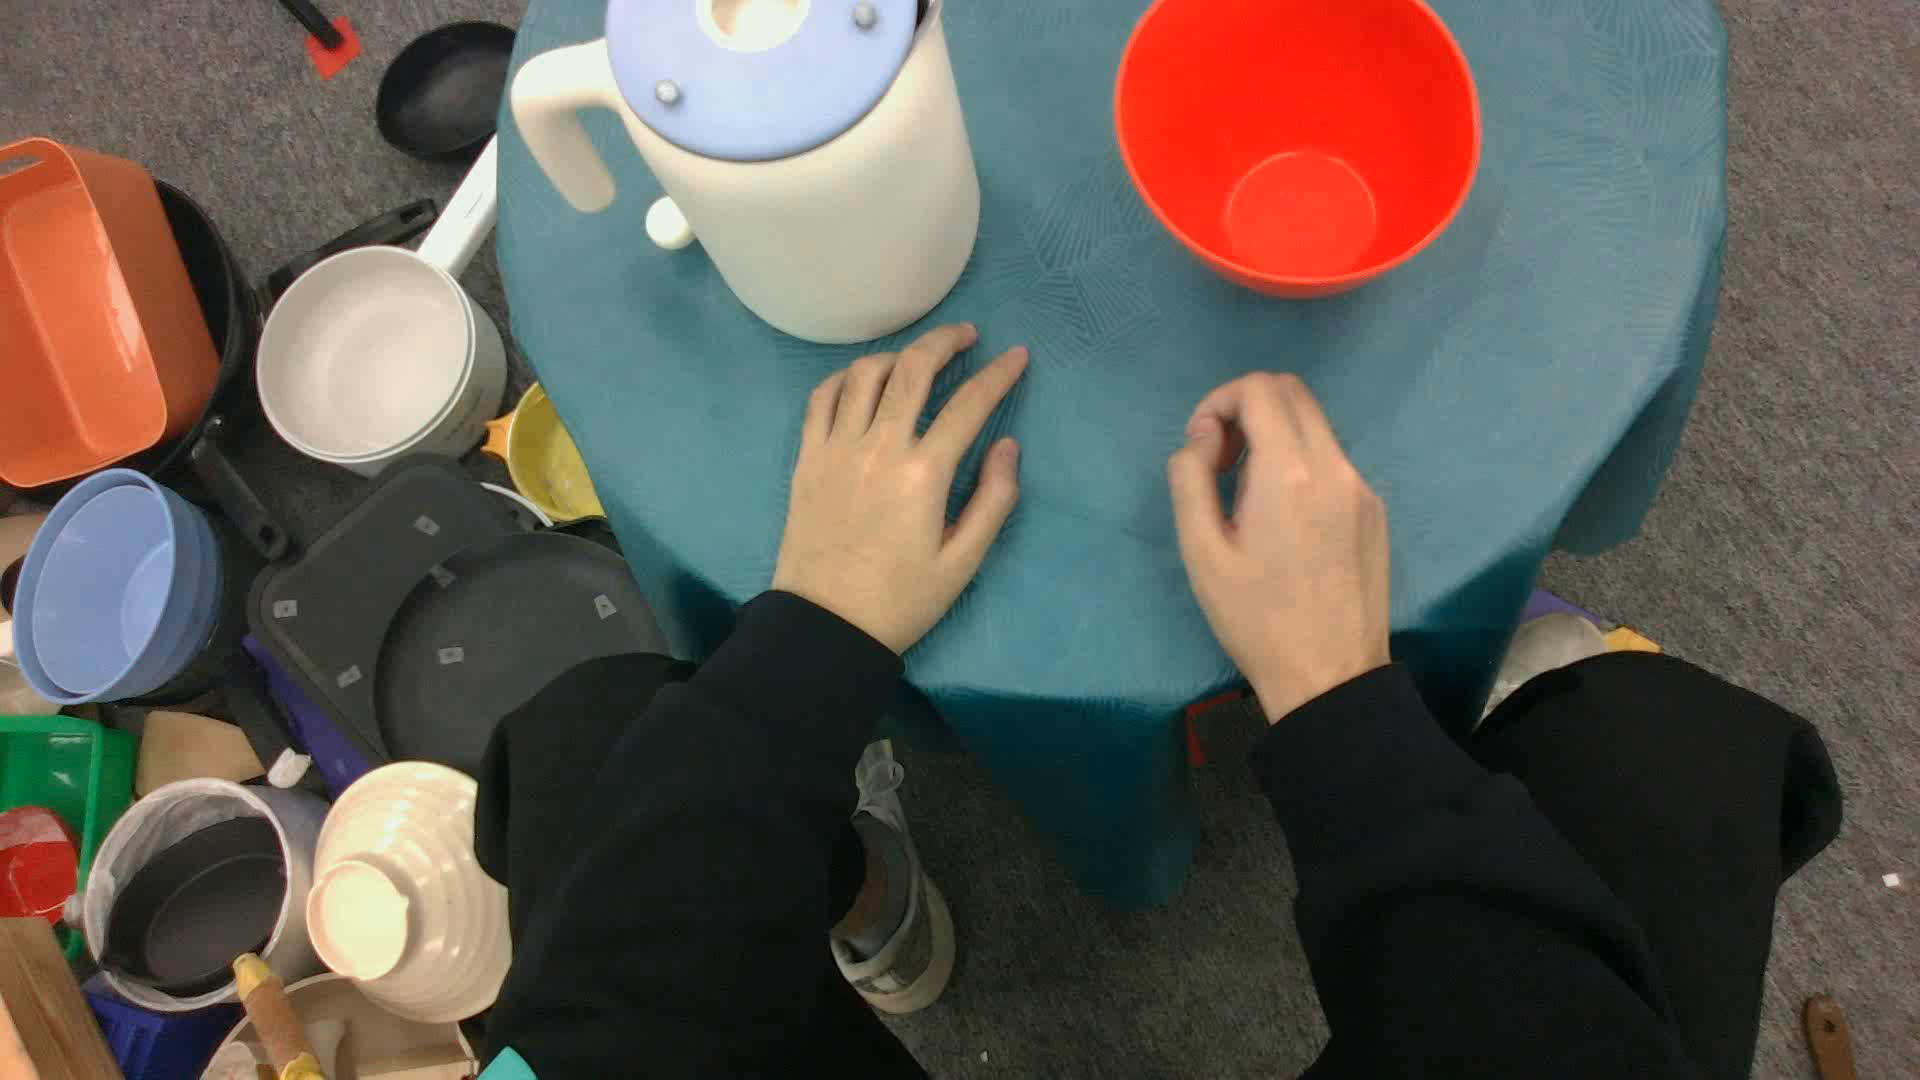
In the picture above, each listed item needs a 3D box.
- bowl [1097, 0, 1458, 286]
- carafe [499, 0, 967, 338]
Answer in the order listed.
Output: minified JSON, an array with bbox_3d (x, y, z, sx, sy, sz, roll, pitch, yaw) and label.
[{"bbox_3d":[0.136,-0.170,0.604,0.148,0.104,0.148,-2,75,6],"label":"bowl"},{"bbox_3d":[-0.095,-0.174,0.595,0.191,0.182,0.132,-7,74,7],"label":"carafe"}]
